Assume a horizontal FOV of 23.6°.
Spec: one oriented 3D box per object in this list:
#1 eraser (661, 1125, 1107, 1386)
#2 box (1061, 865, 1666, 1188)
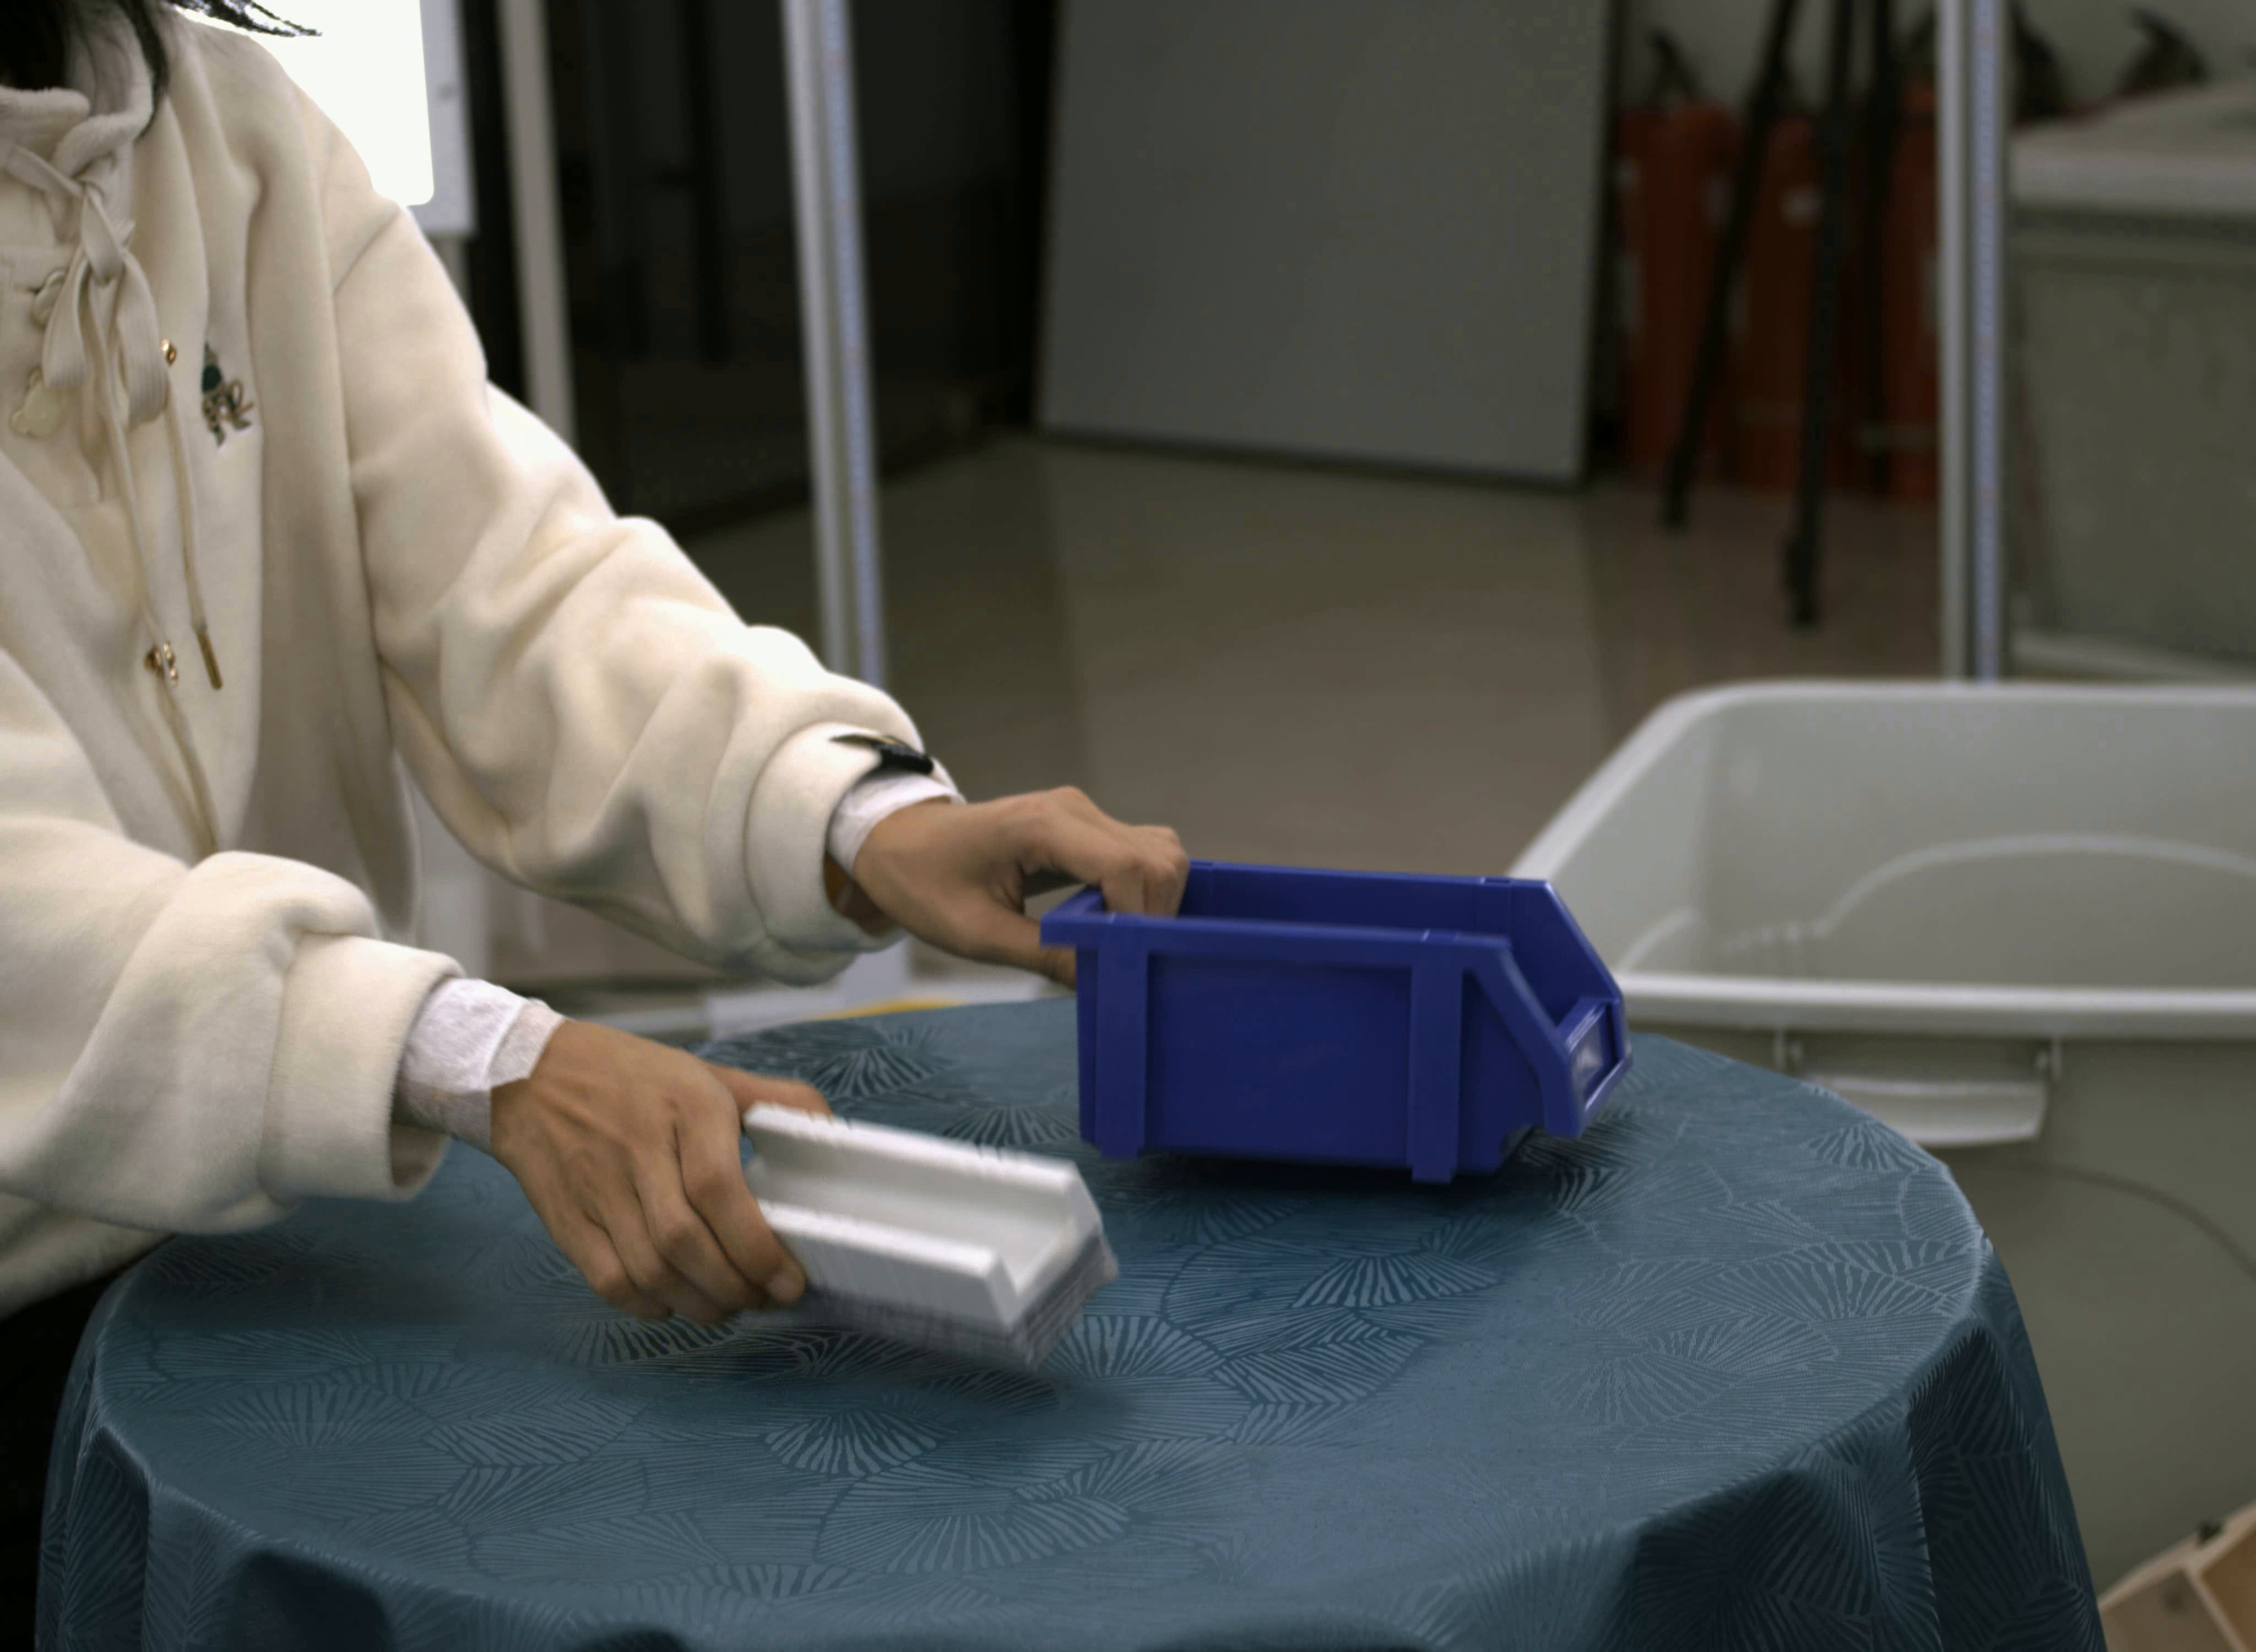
[{"bbox_3d":[-0.072,0.127,1.610,0.135,0.046,0.049,7,42,40],"label":"eraser"},{"bbox_3d":[0.081,0.064,1.780,0.179,0.083,0.123,1,10,17],"label":"box"}]
